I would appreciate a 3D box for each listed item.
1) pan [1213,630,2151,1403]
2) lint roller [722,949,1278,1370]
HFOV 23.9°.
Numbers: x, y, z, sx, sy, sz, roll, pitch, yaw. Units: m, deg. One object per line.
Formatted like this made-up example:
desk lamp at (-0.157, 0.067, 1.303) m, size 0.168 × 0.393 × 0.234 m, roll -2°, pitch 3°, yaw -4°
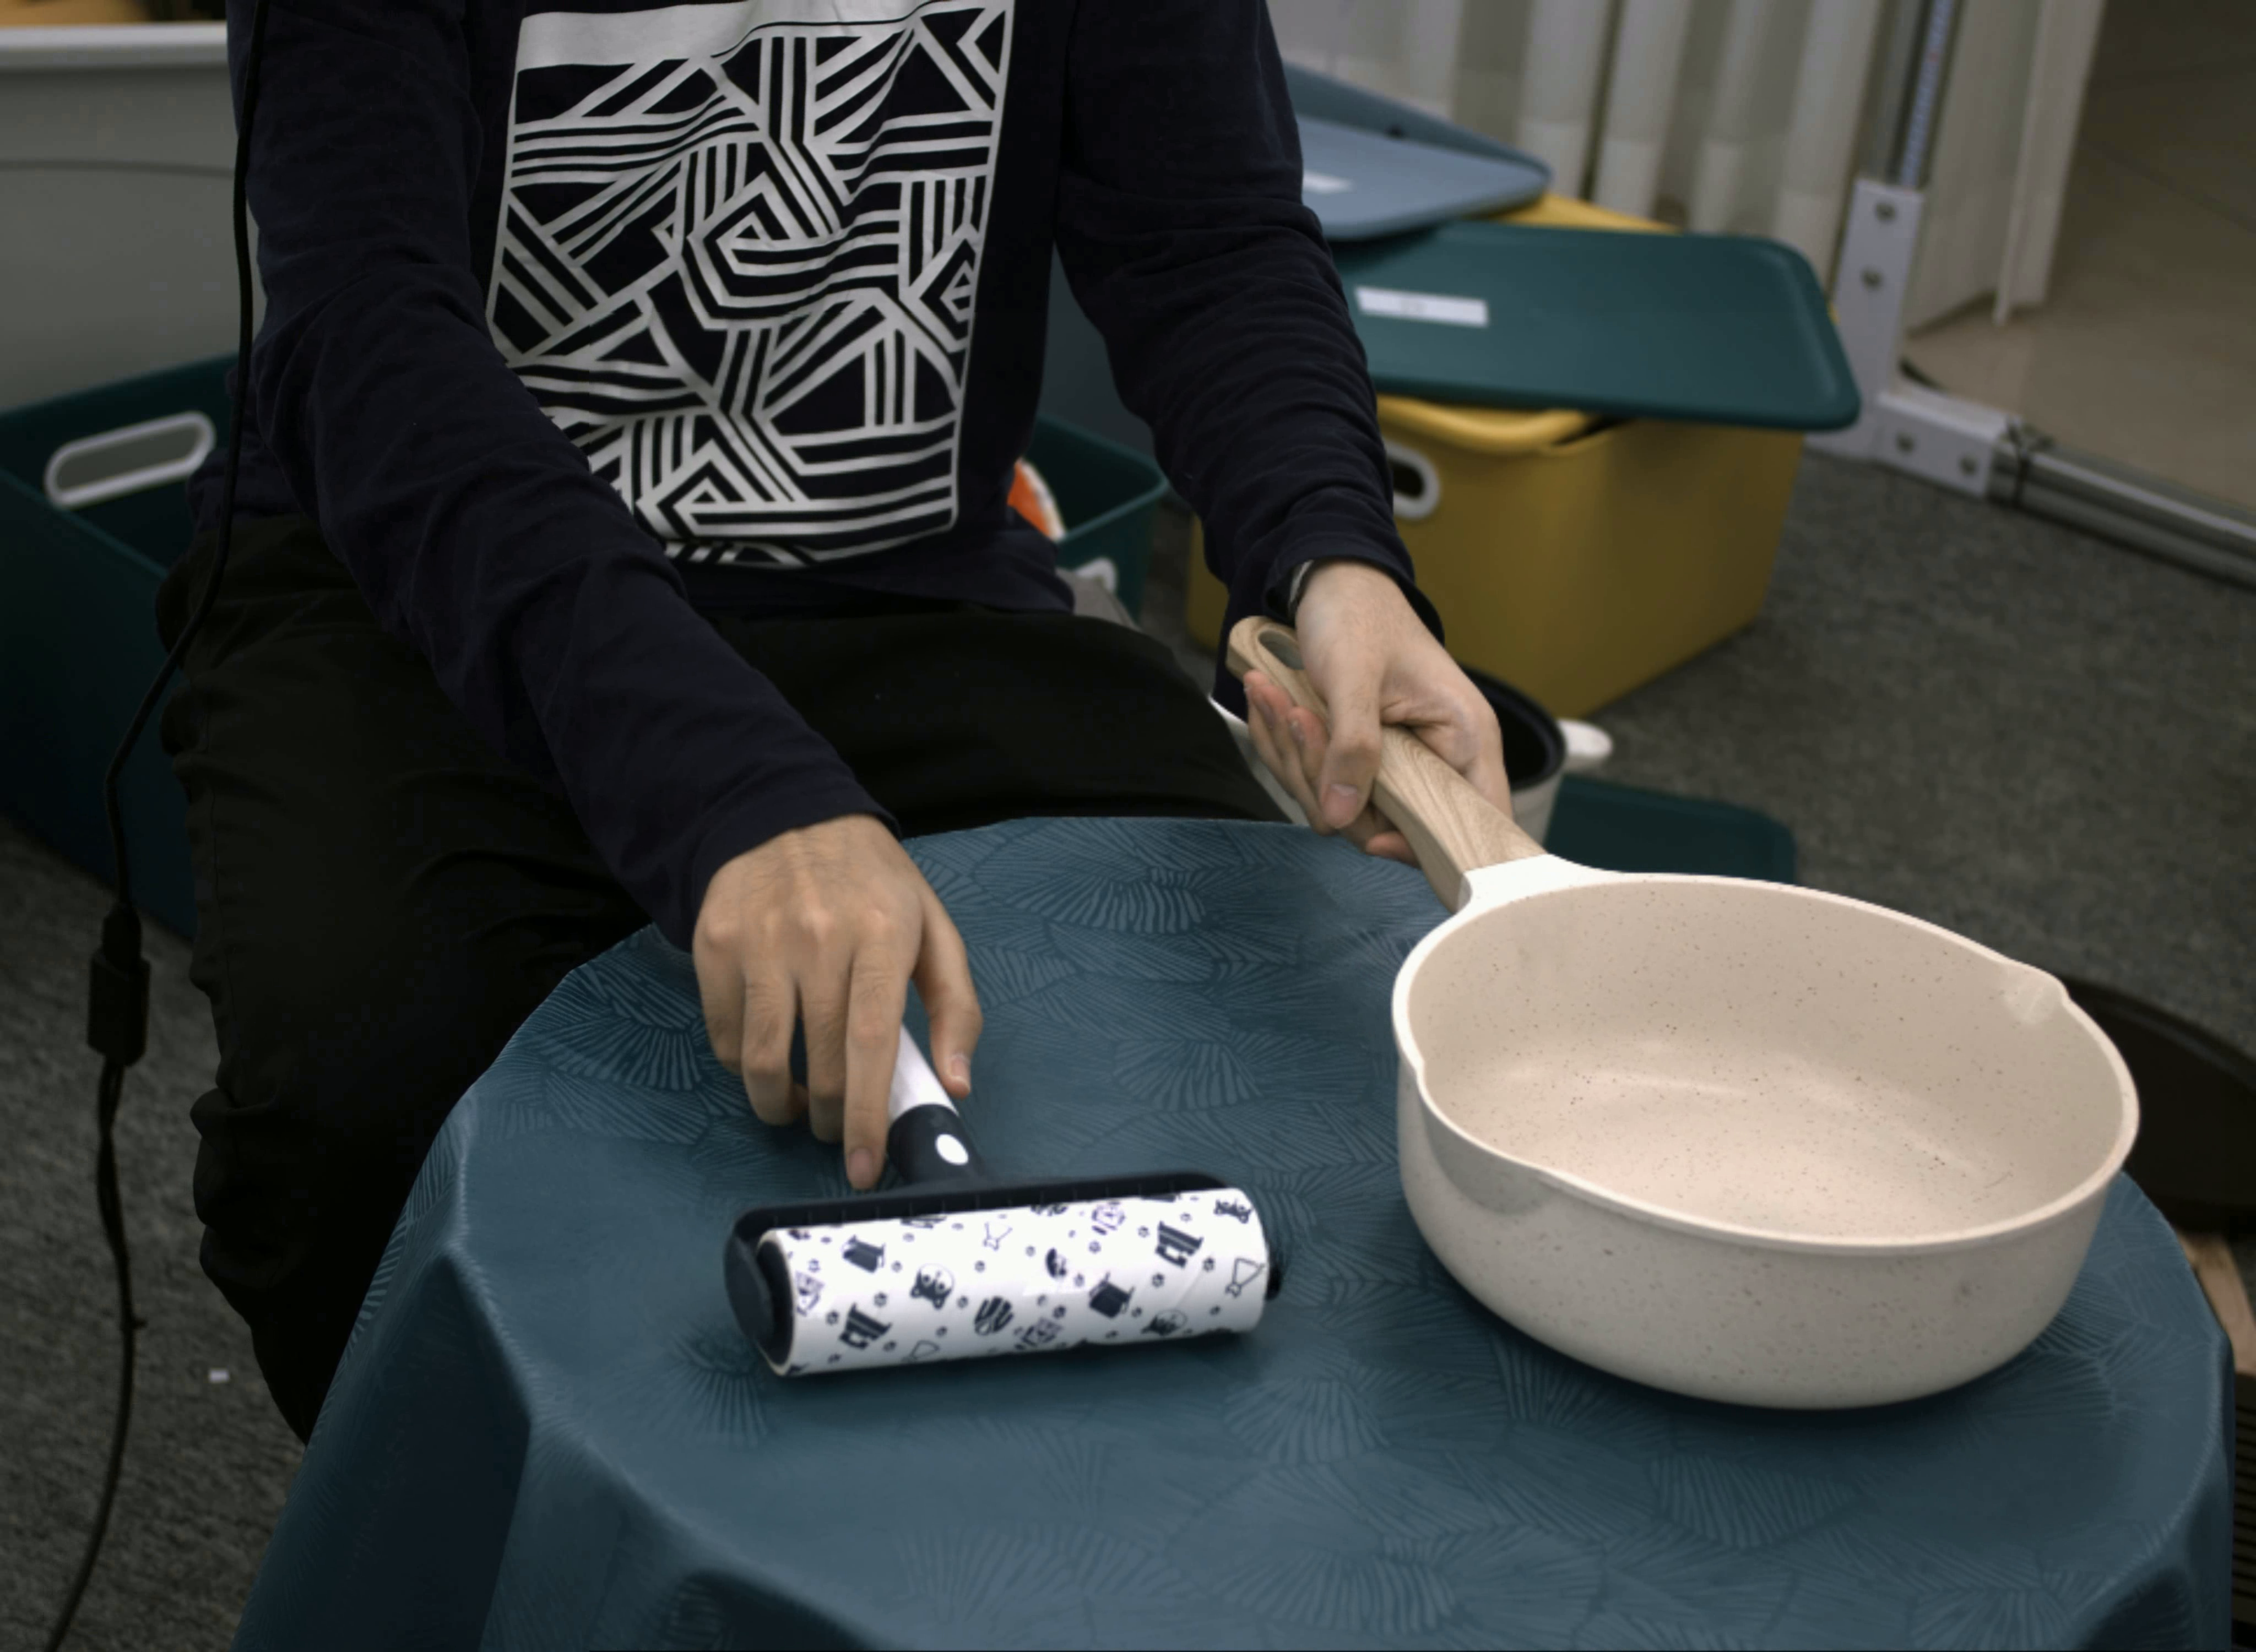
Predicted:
pan at (0.161, 0.062, 1.854) m, size 0.262 × 0.101 × 0.439 m, roll -13°, pitch 32°, yaw -32°
lint roller at (-0.073, 0.098, 1.786) m, size 0.175 × 0.050 × 0.249 m, roll -5°, pitch 28°, yaw -20°
